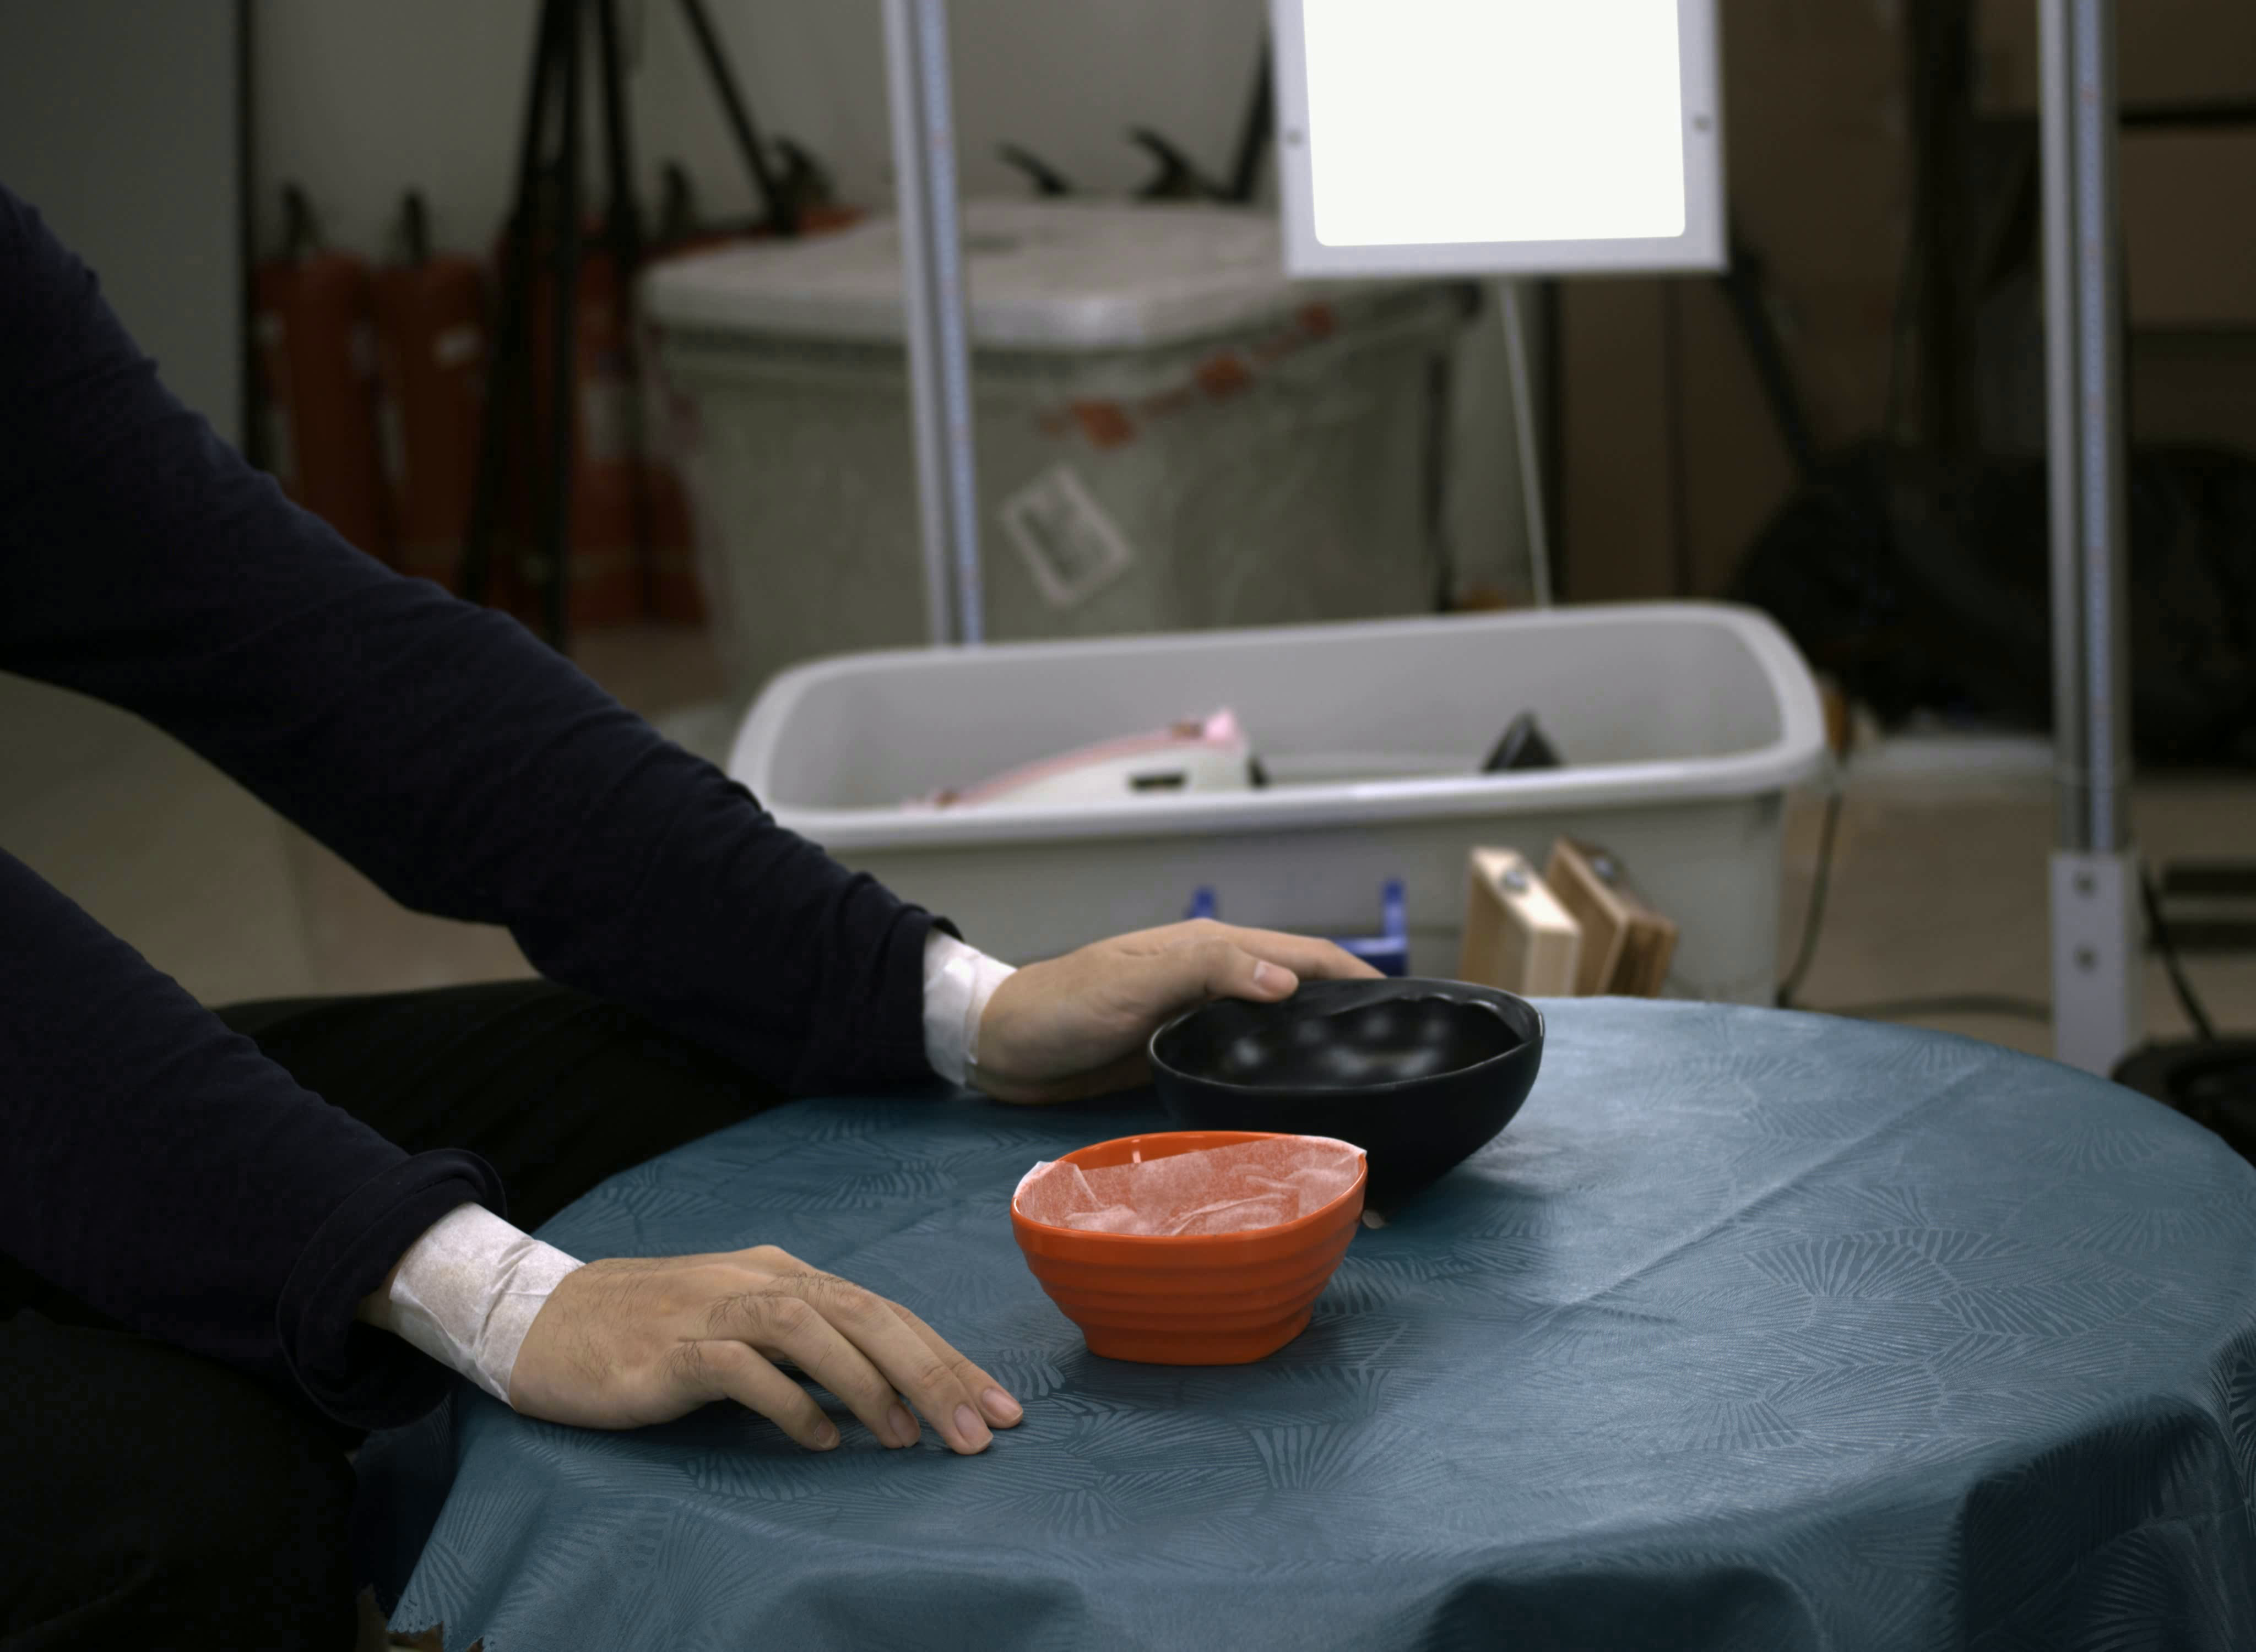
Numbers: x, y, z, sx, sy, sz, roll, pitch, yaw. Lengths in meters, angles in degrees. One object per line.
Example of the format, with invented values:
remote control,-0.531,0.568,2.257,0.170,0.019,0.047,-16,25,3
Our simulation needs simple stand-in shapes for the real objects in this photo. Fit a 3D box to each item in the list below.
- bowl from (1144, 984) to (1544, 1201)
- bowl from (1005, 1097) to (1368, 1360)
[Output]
bowl,0.078,0.097,1.905,0.140,0.050,0.140,-9,12,1
bowl,0.020,0.131,1.746,0.118,0.051,0.118,-4,21,0
